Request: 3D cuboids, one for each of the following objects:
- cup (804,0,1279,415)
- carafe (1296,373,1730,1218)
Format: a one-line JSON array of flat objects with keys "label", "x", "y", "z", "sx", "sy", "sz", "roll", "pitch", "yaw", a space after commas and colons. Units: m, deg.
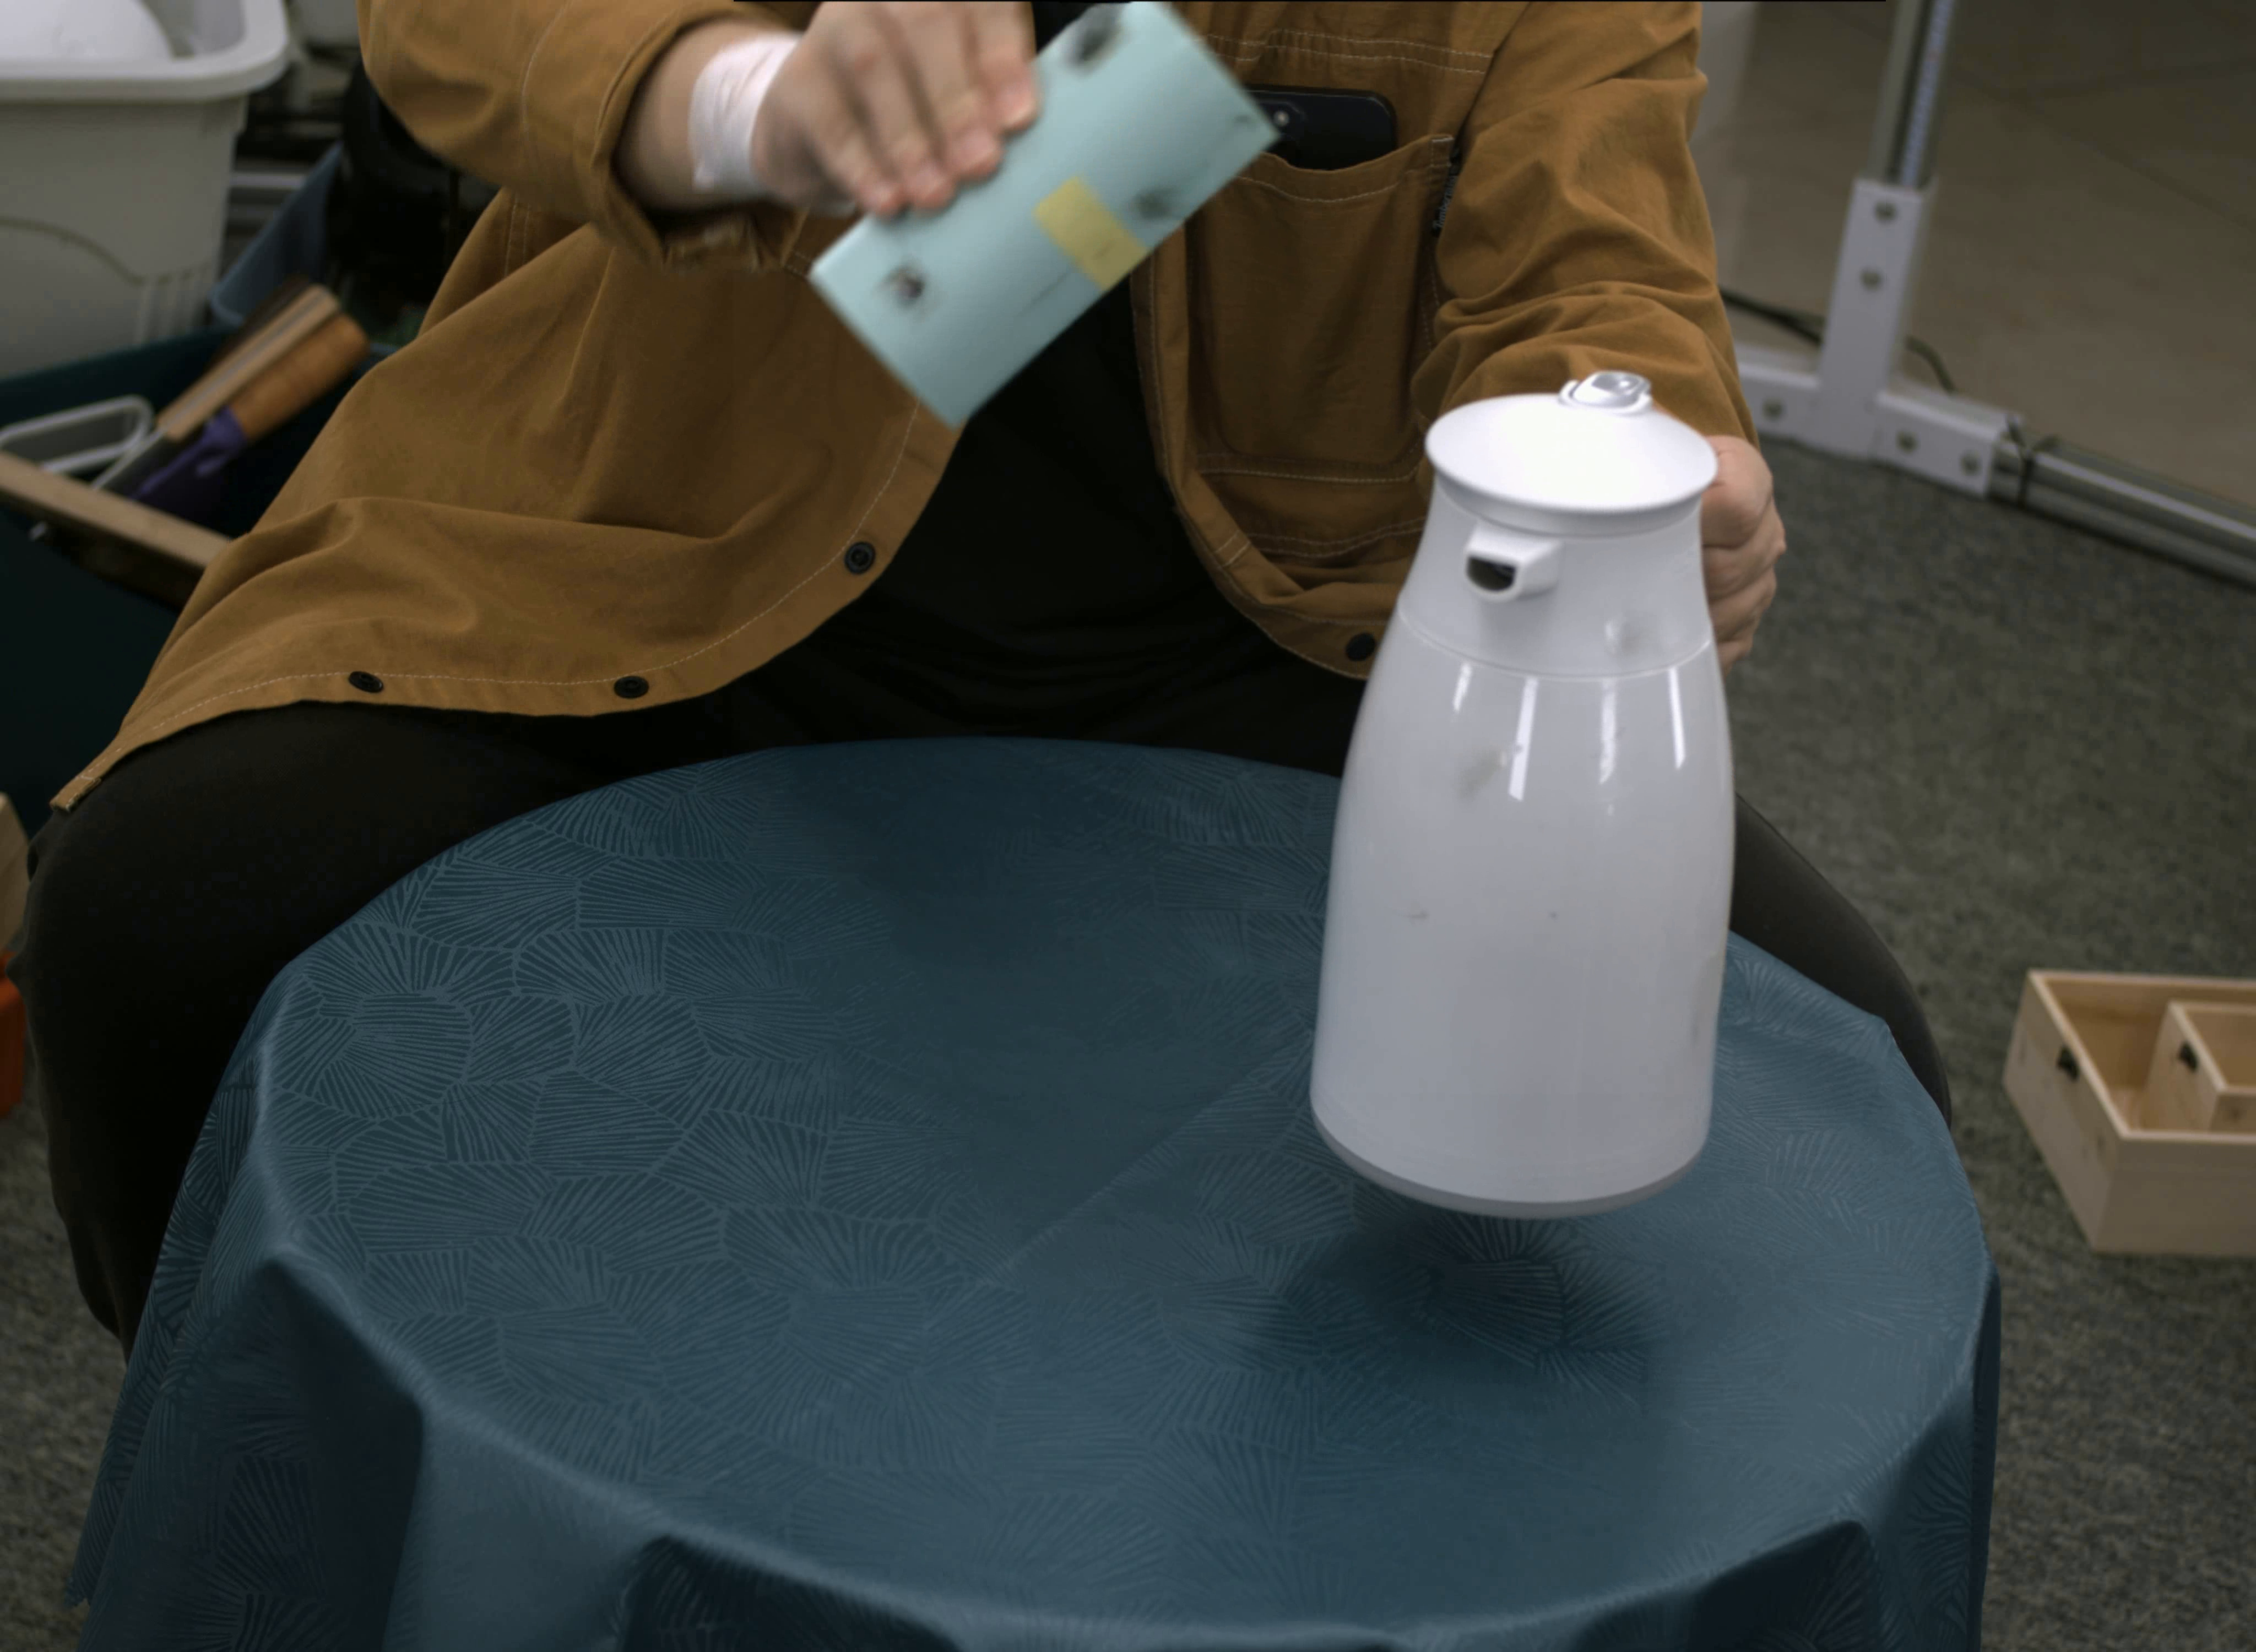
[{"label": "cup", "x": -0.026, "y": -0.189, "z": 1.584, "sx": 0.132, "sy": 0.066, "sz": 0.067, "roll": -40, "pitch": 34, "yaw": 3}, {"label": "carafe", "x": 0.138, "y": -0.021, "z": 1.720, "sx": 0.133, "sy": 0.248, "sz": 0.167, "roll": 16, "pitch": 27, "yaw": 22}]
